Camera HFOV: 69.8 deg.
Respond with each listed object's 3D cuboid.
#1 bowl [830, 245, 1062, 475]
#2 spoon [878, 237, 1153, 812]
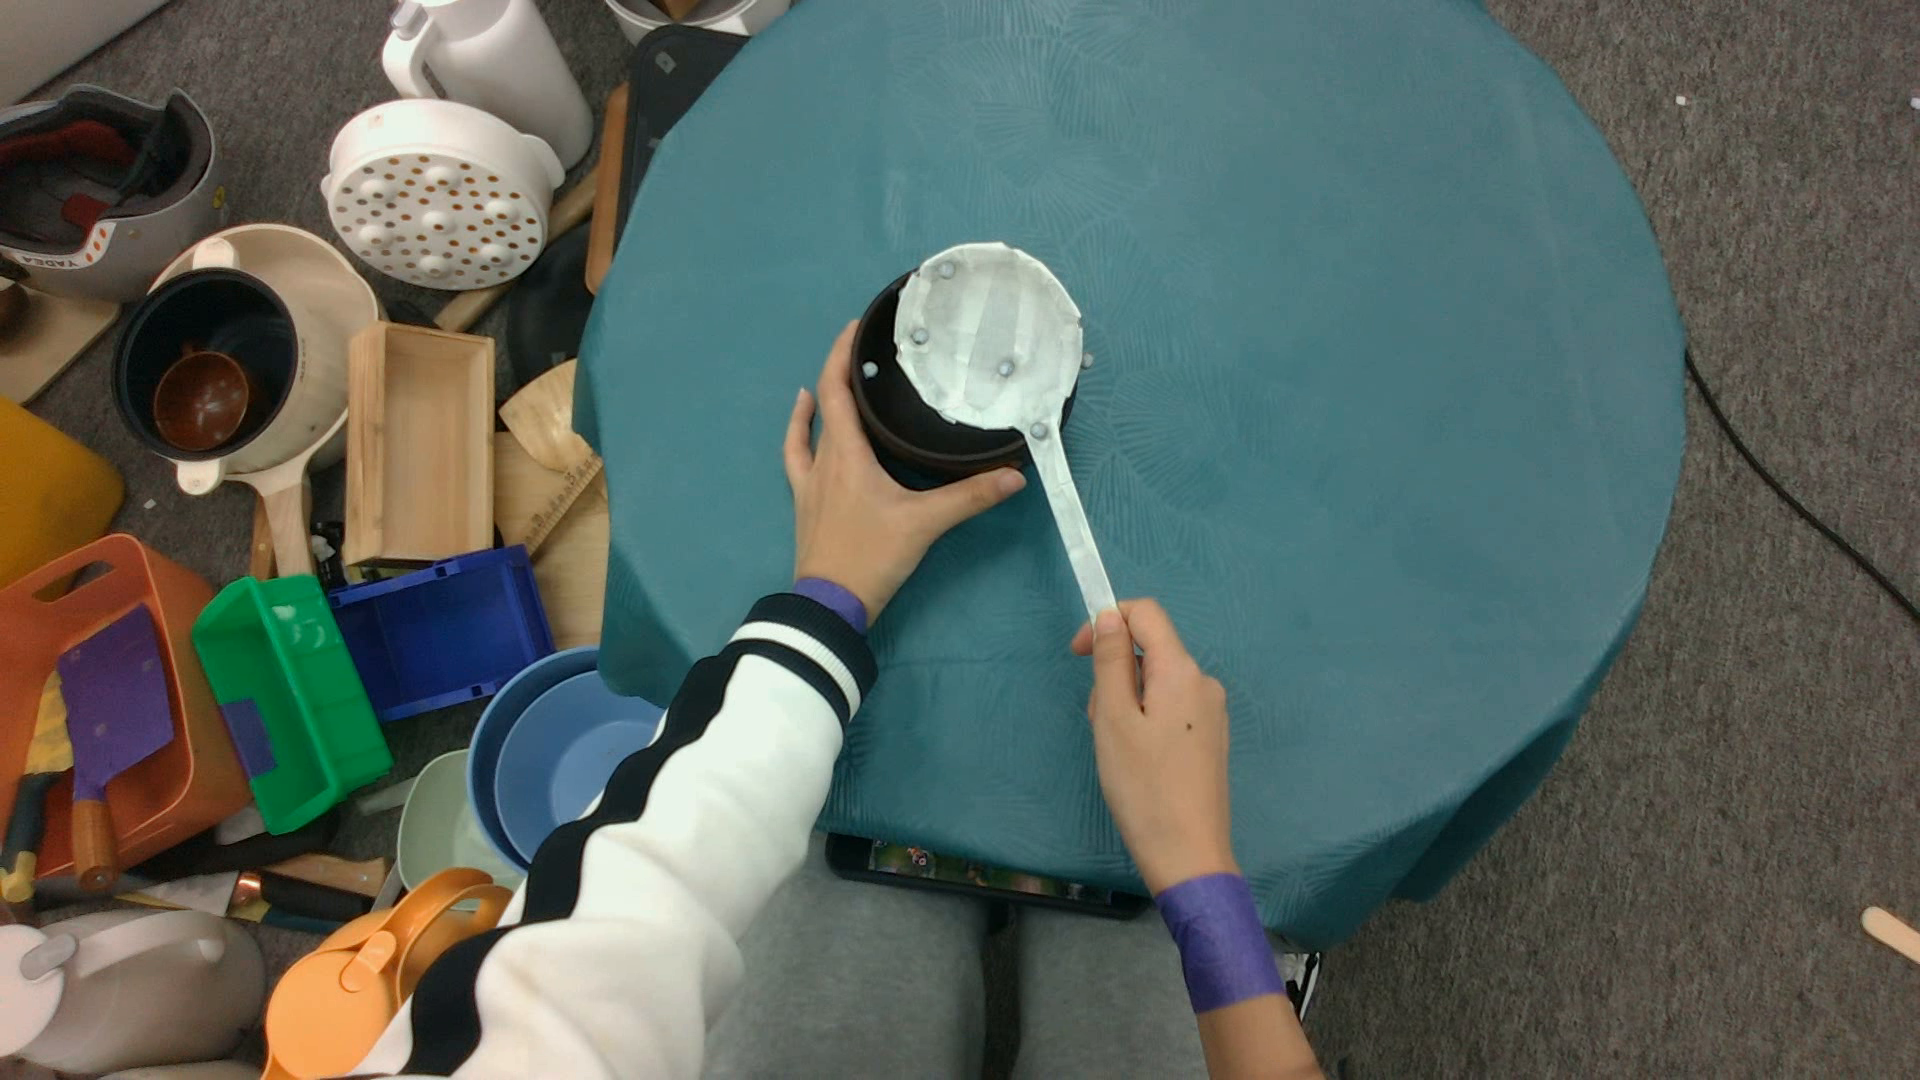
[{"bbox_3d":[-0.006,-0.088,0.723,0.118,0.069,0.118,-1,72,2],"label":"bowl"},{"bbox_3d":[0.029,-0.006,0.641,0.100,0.059,0.278,-23,75,28],"label":"spoon"}]
